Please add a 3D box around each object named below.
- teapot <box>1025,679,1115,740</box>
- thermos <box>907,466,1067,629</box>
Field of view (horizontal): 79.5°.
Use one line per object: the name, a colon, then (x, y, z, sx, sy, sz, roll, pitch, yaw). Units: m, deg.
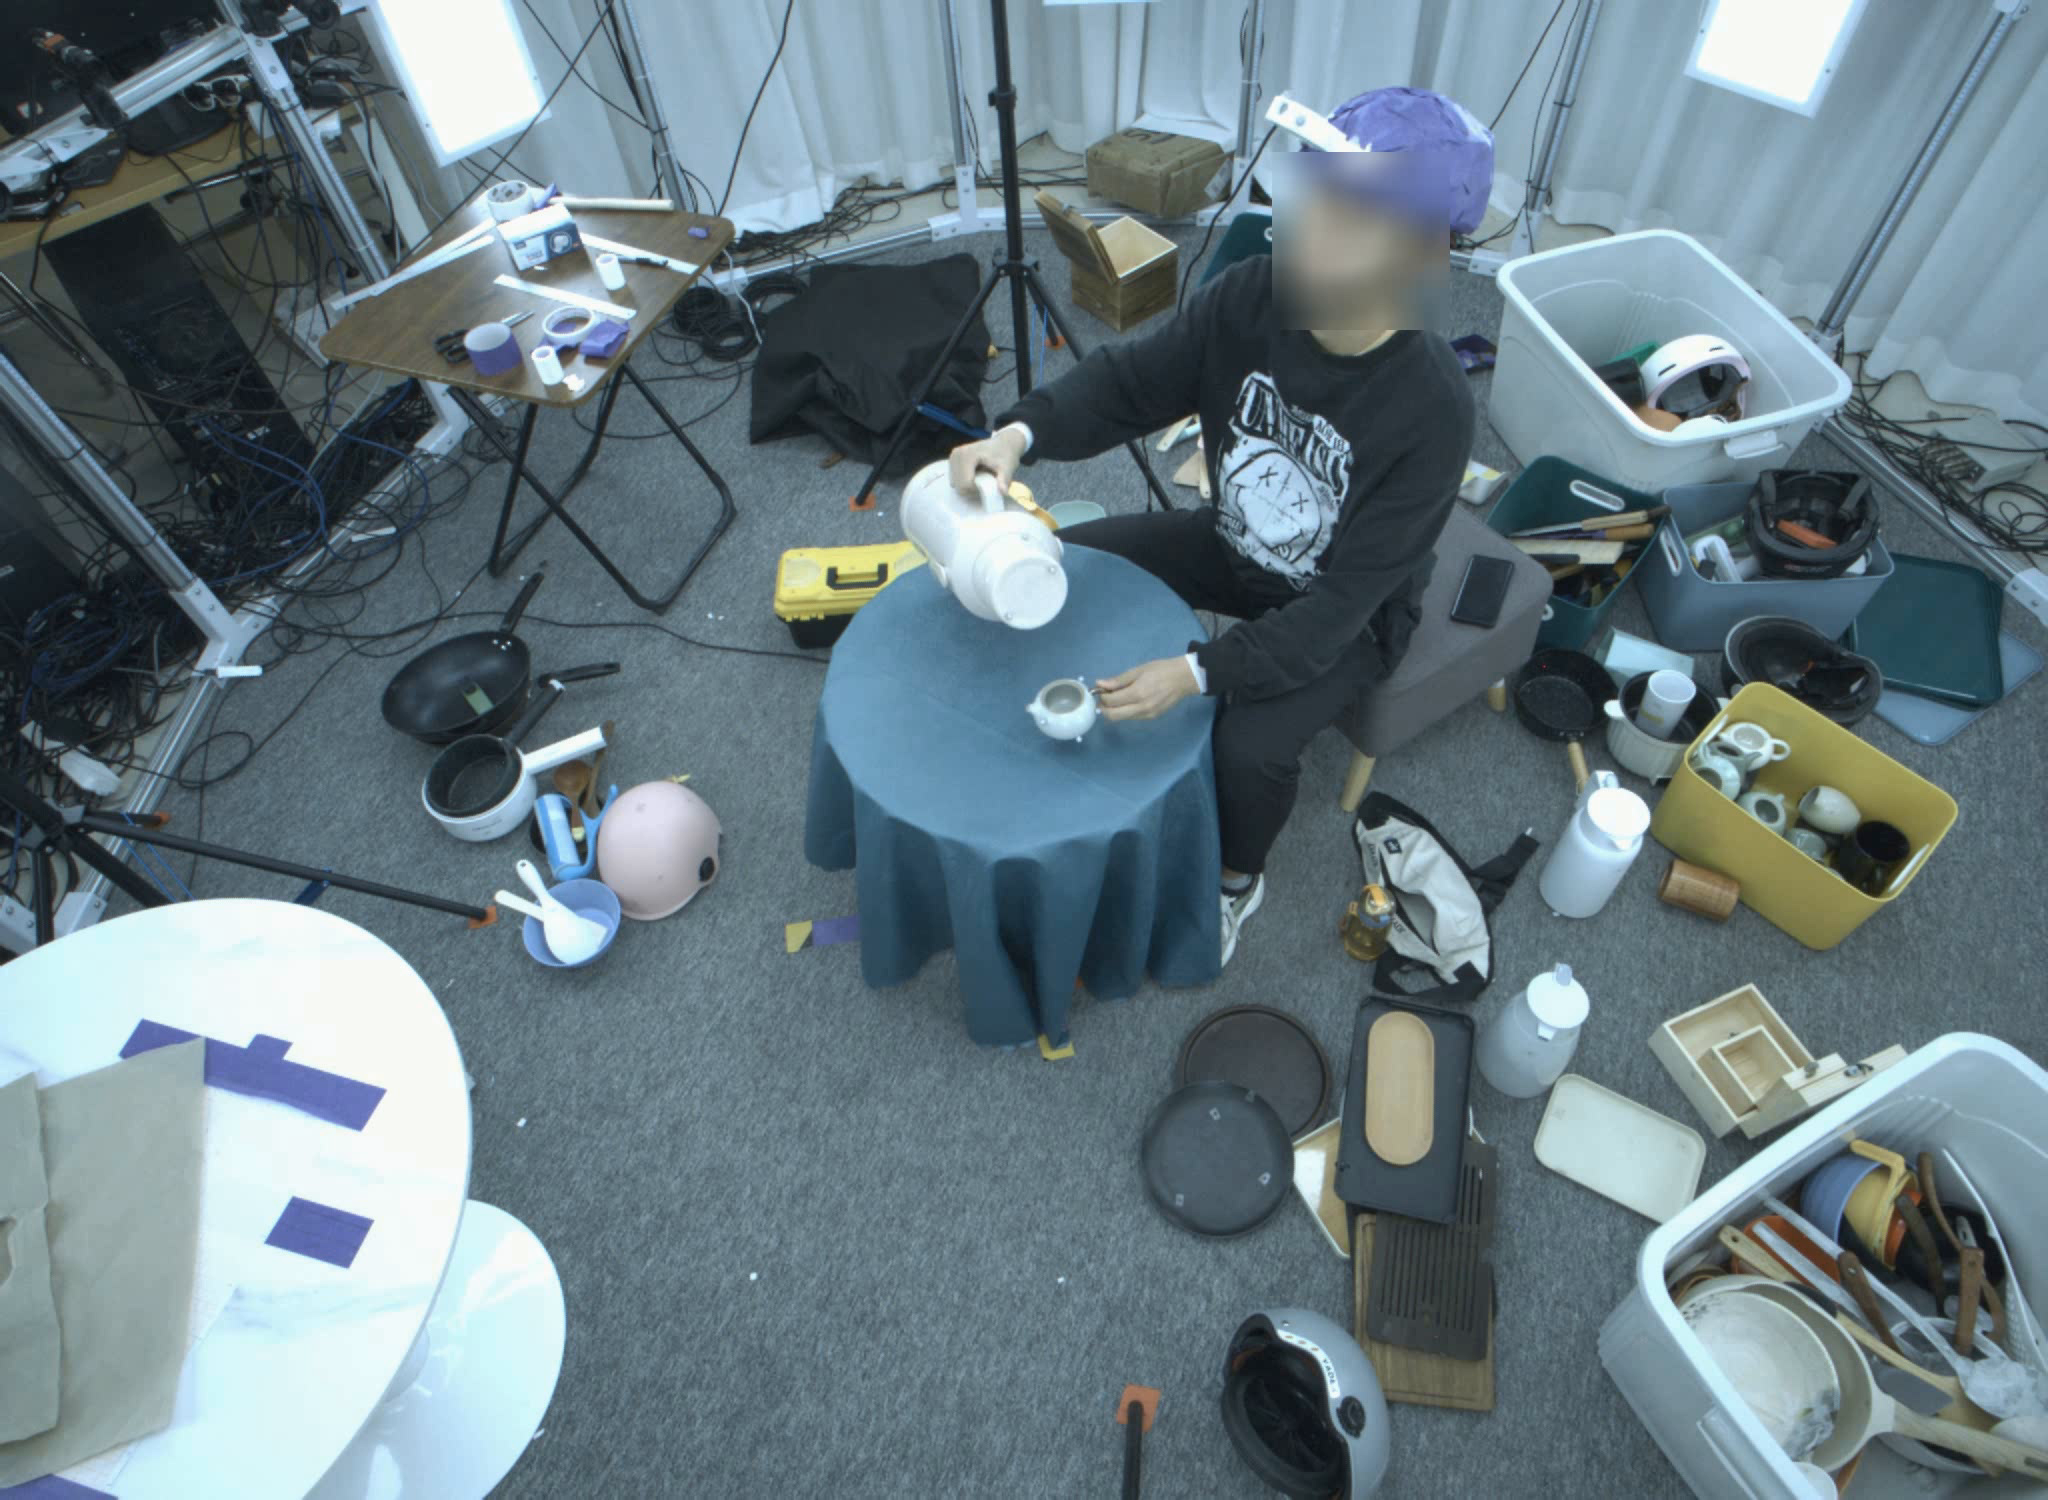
teapot: (0.066, -0.060, 1.738, 0.128, 0.060, 0.090, -17, 50, -4)
thermos: (-0.053, -0.301, 1.741, 0.176, 0.209, 0.398, -16, 30, -10)
